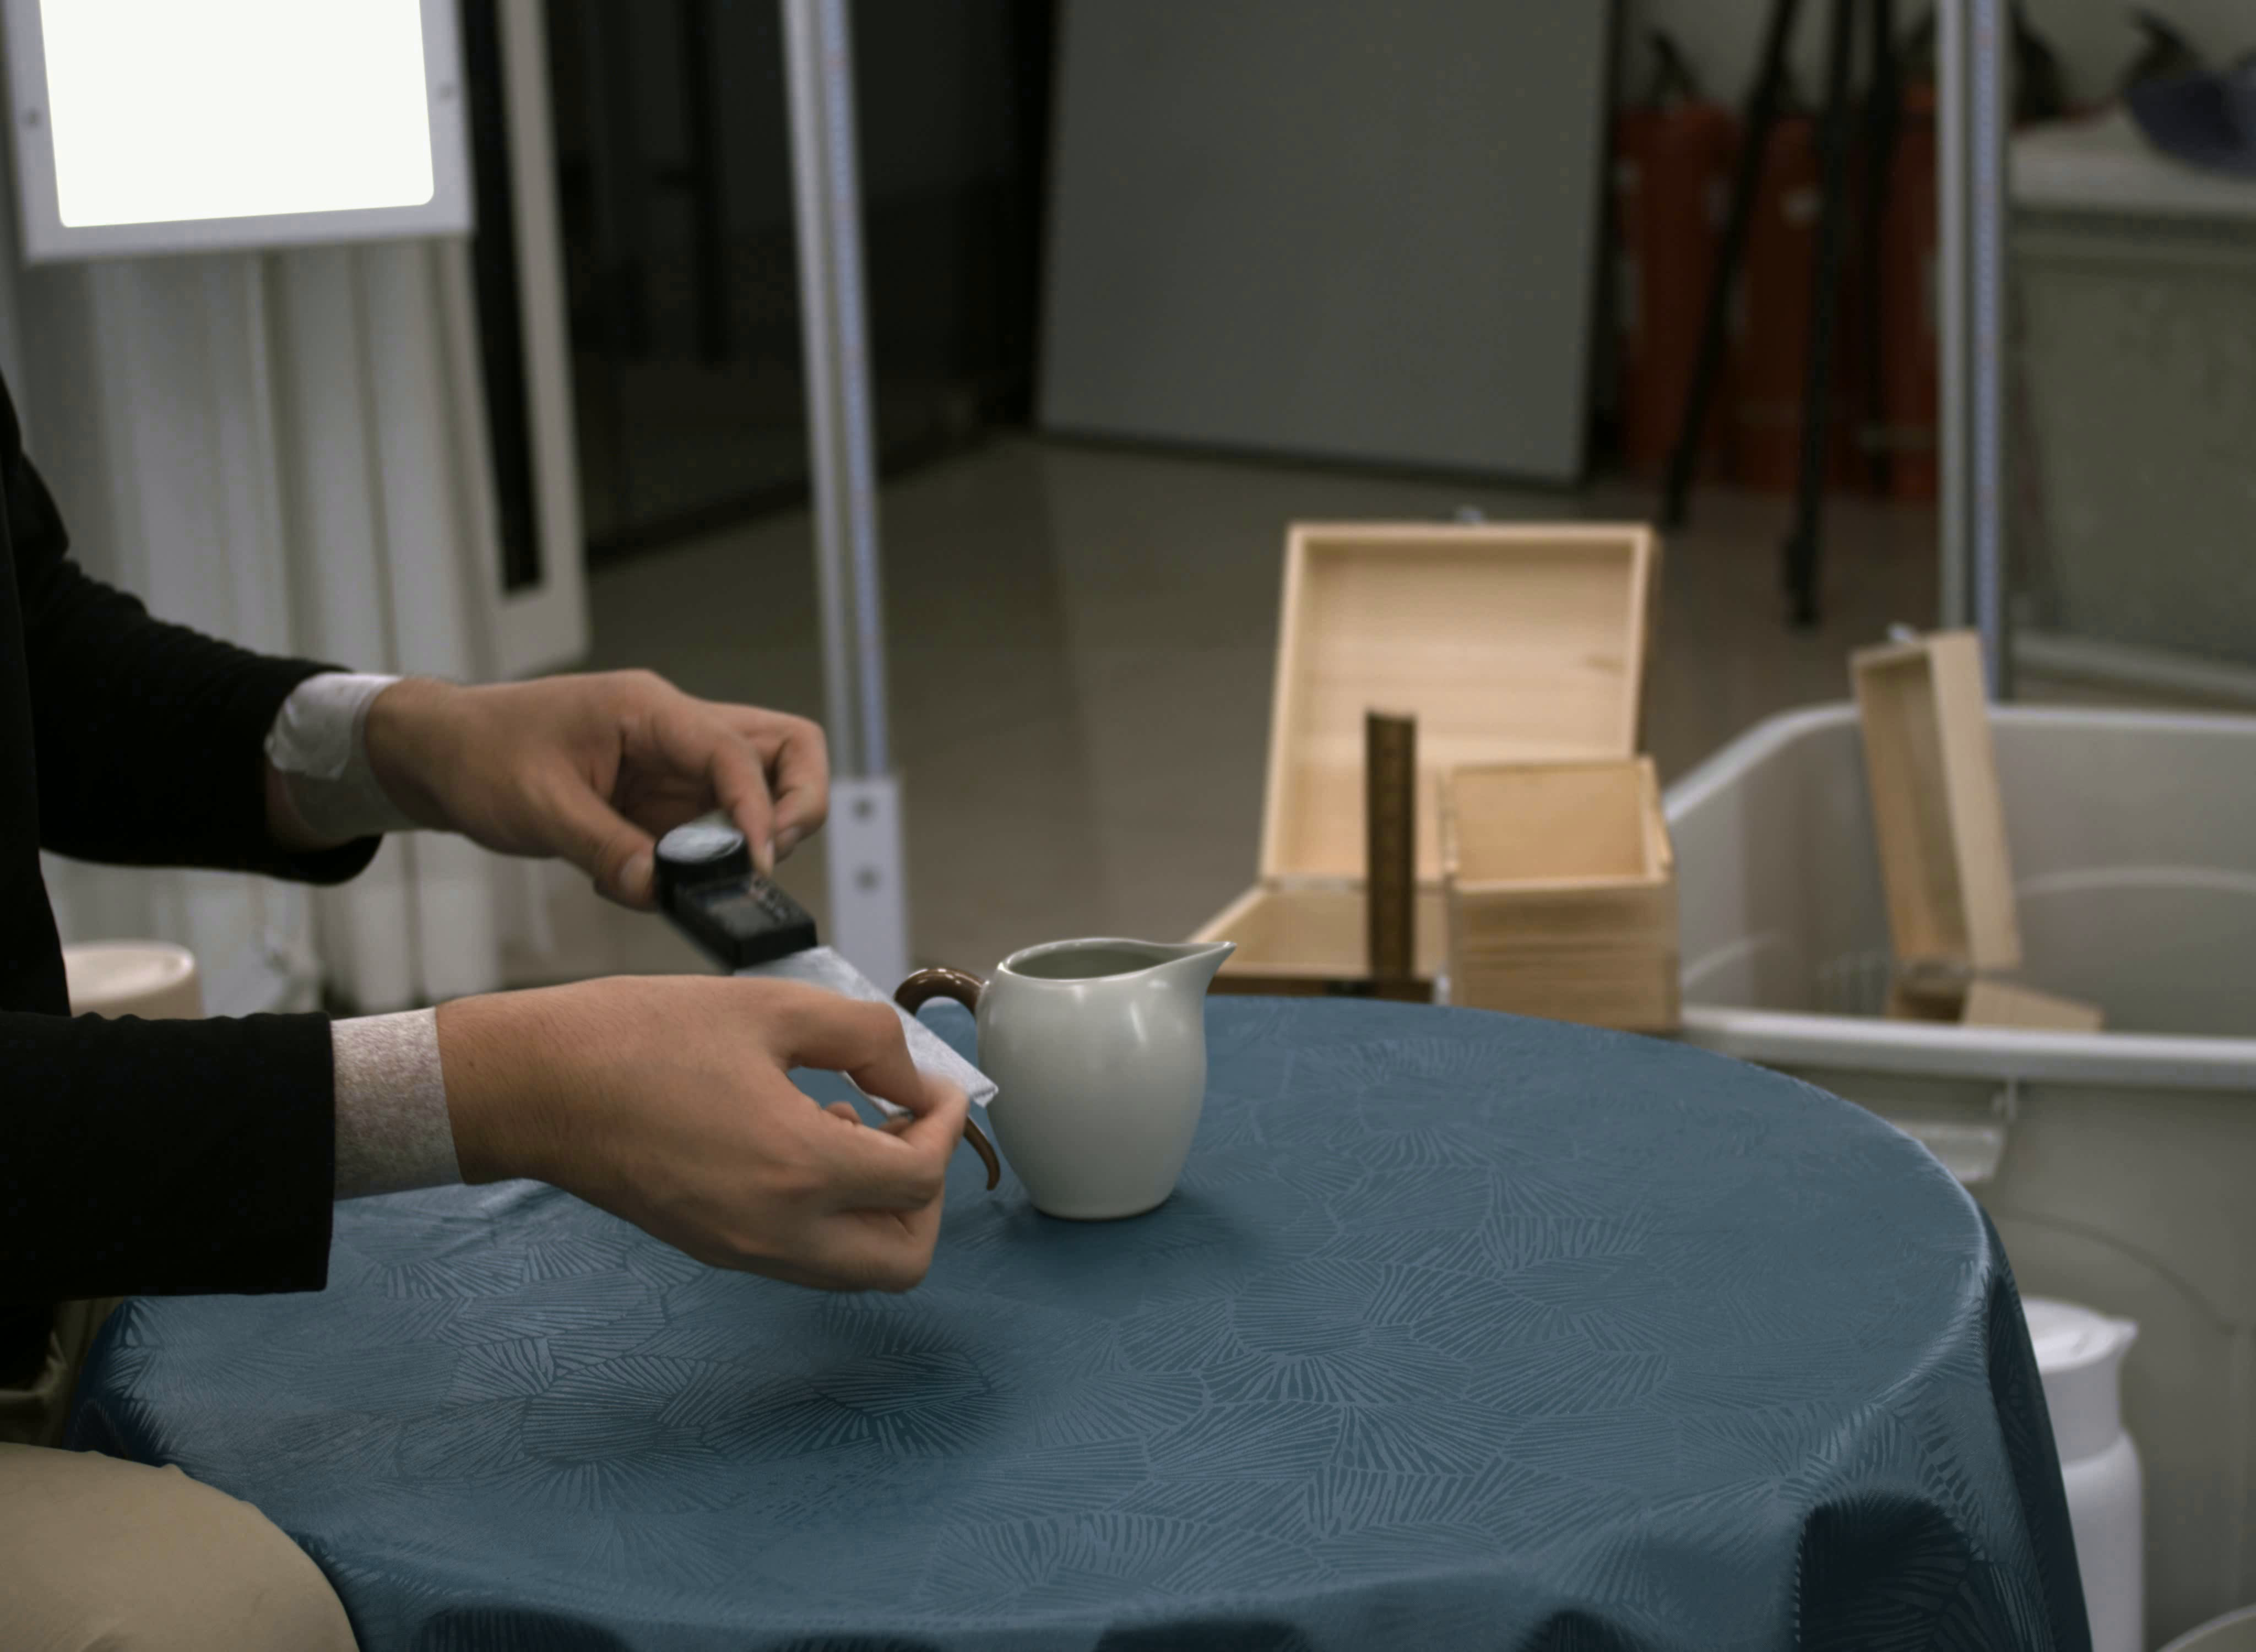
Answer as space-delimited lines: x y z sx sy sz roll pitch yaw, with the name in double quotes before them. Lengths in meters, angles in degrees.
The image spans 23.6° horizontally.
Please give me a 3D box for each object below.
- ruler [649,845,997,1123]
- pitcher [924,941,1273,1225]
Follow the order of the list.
"ruler" -0.102 0.047 1.709 0.037 0.024 0.220 -22 23 -18
"pitcher" -0.009 0.081 1.752 0.119 0.089 0.075 1 11 16
